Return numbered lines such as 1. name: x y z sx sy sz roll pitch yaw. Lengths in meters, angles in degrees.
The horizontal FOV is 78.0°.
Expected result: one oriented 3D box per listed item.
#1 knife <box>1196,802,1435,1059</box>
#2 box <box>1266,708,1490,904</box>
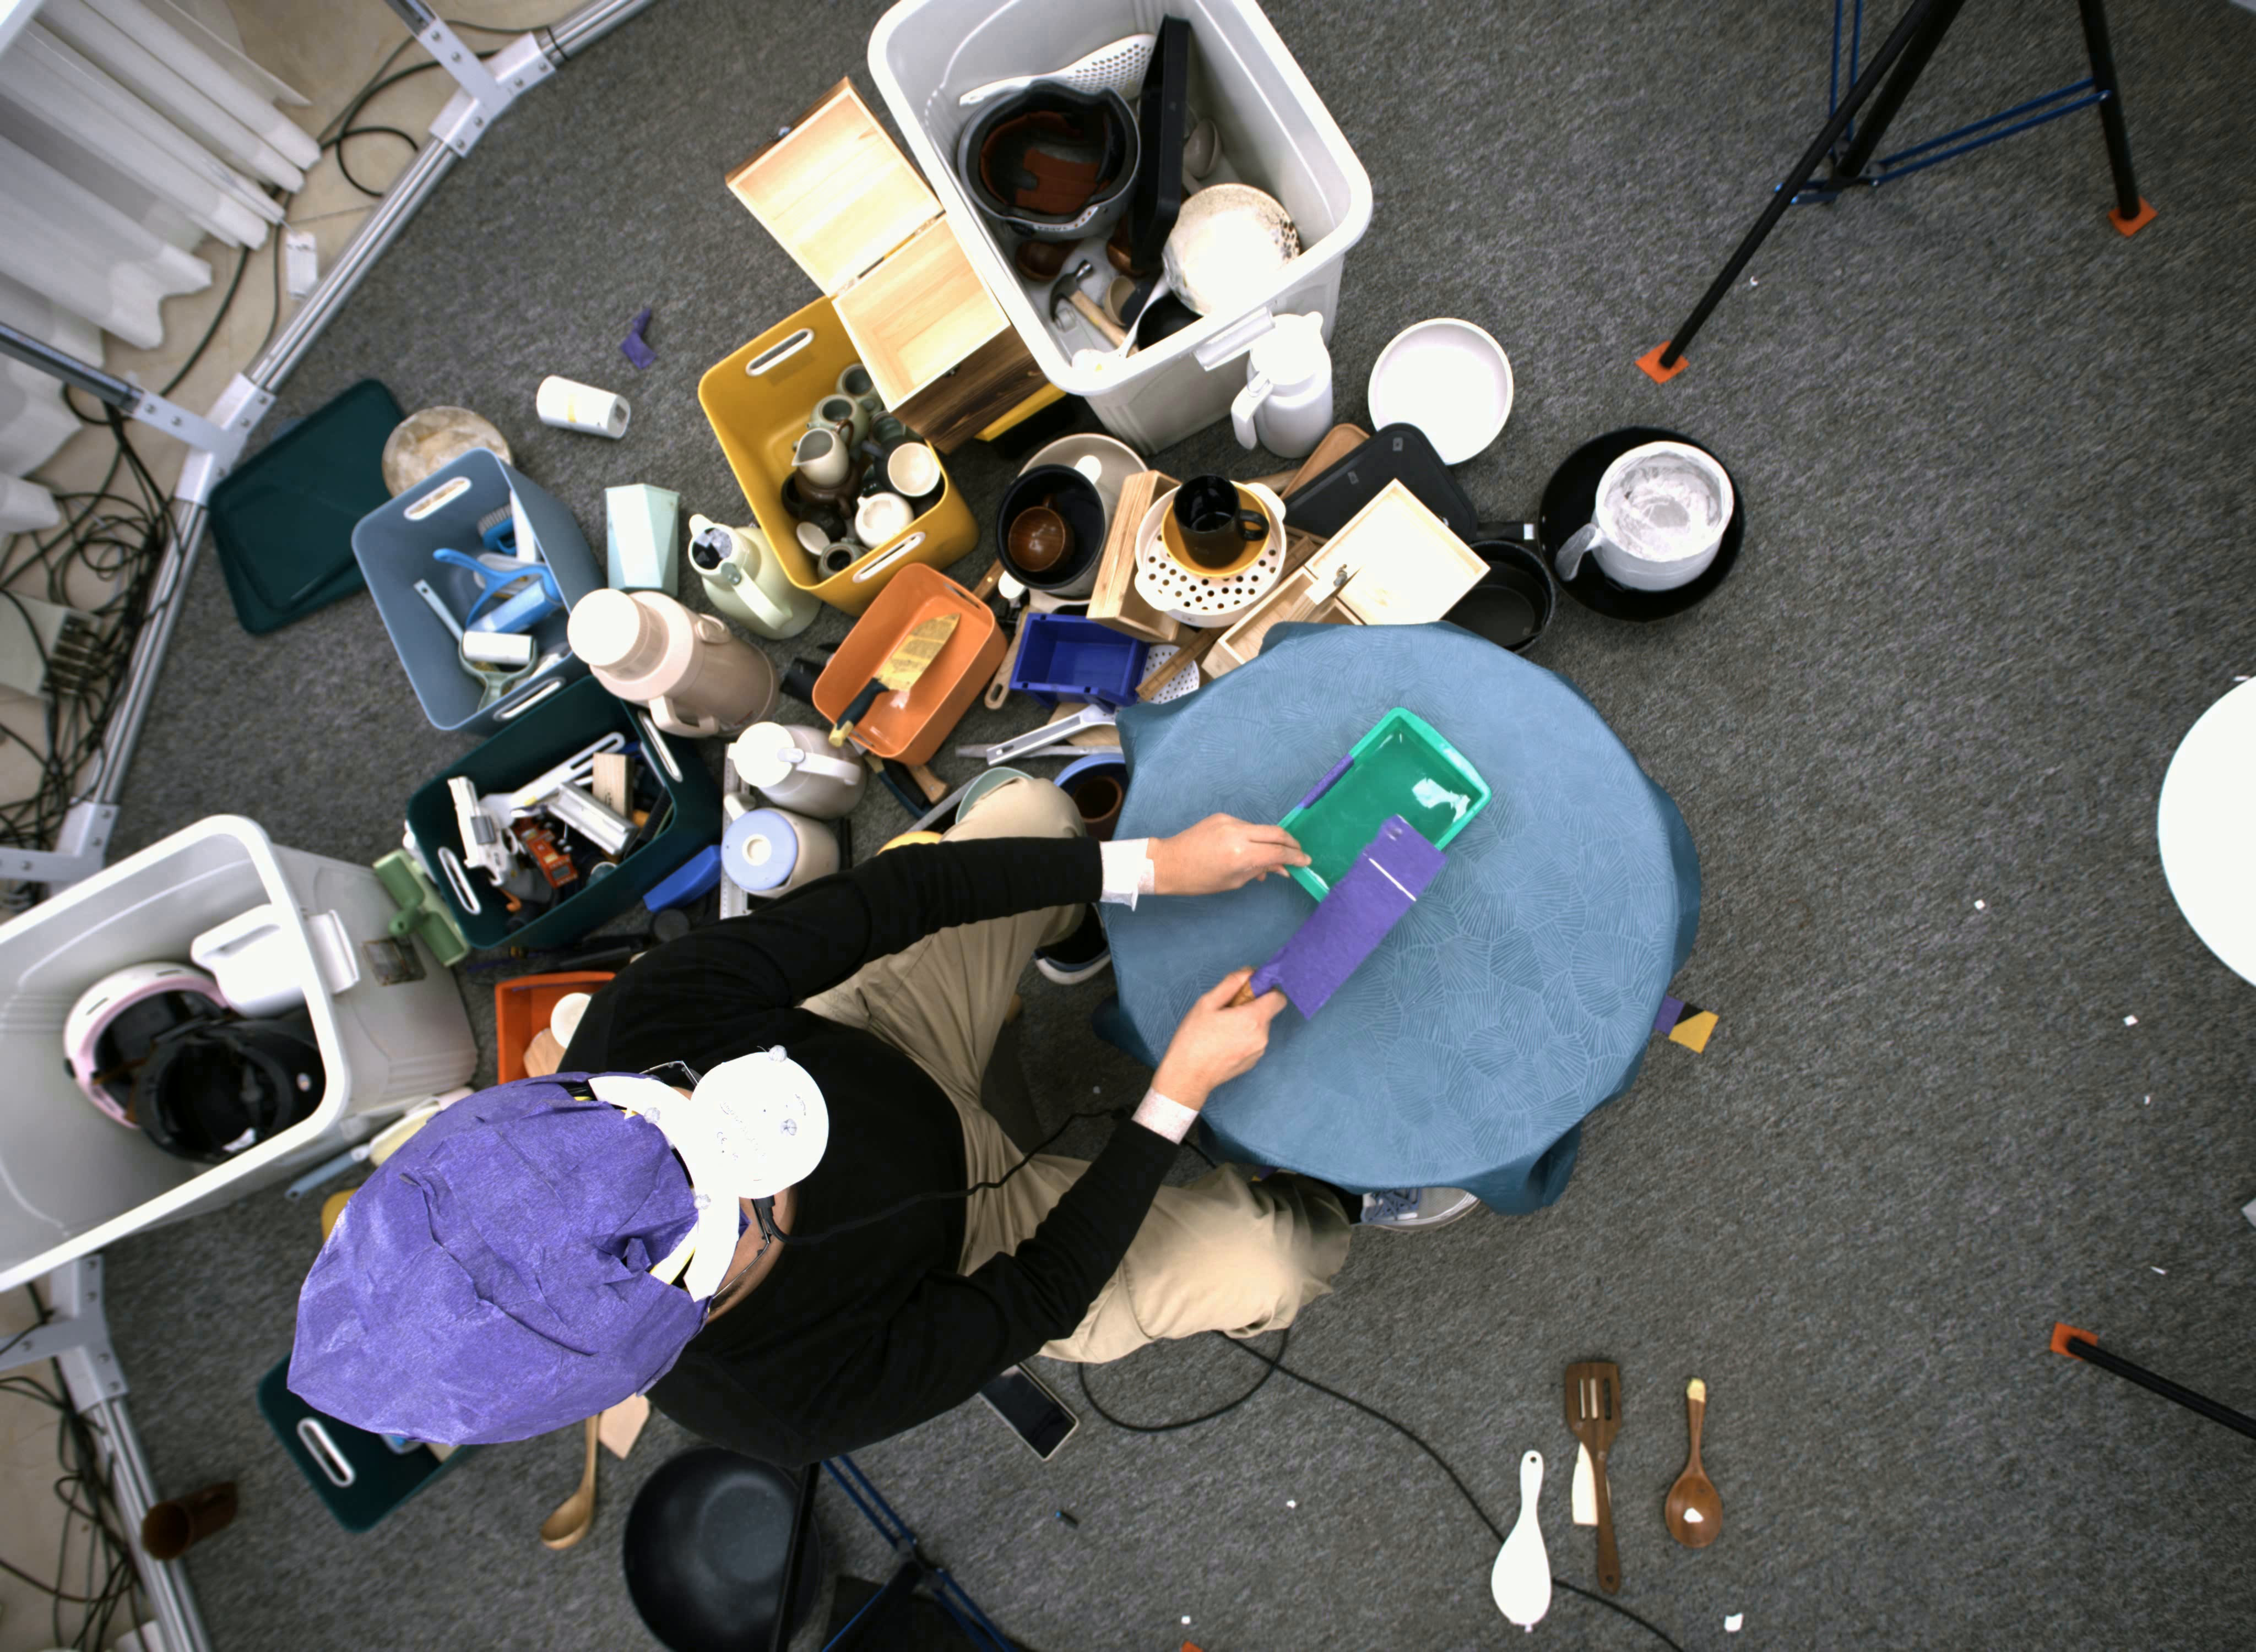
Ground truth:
1. knife: 0.183 0.120 1.367 0.319 0.032 0.102 -54 37 14
2. box: 0.260 -0.006 1.435 0.138 0.065 0.211 44 97 12
